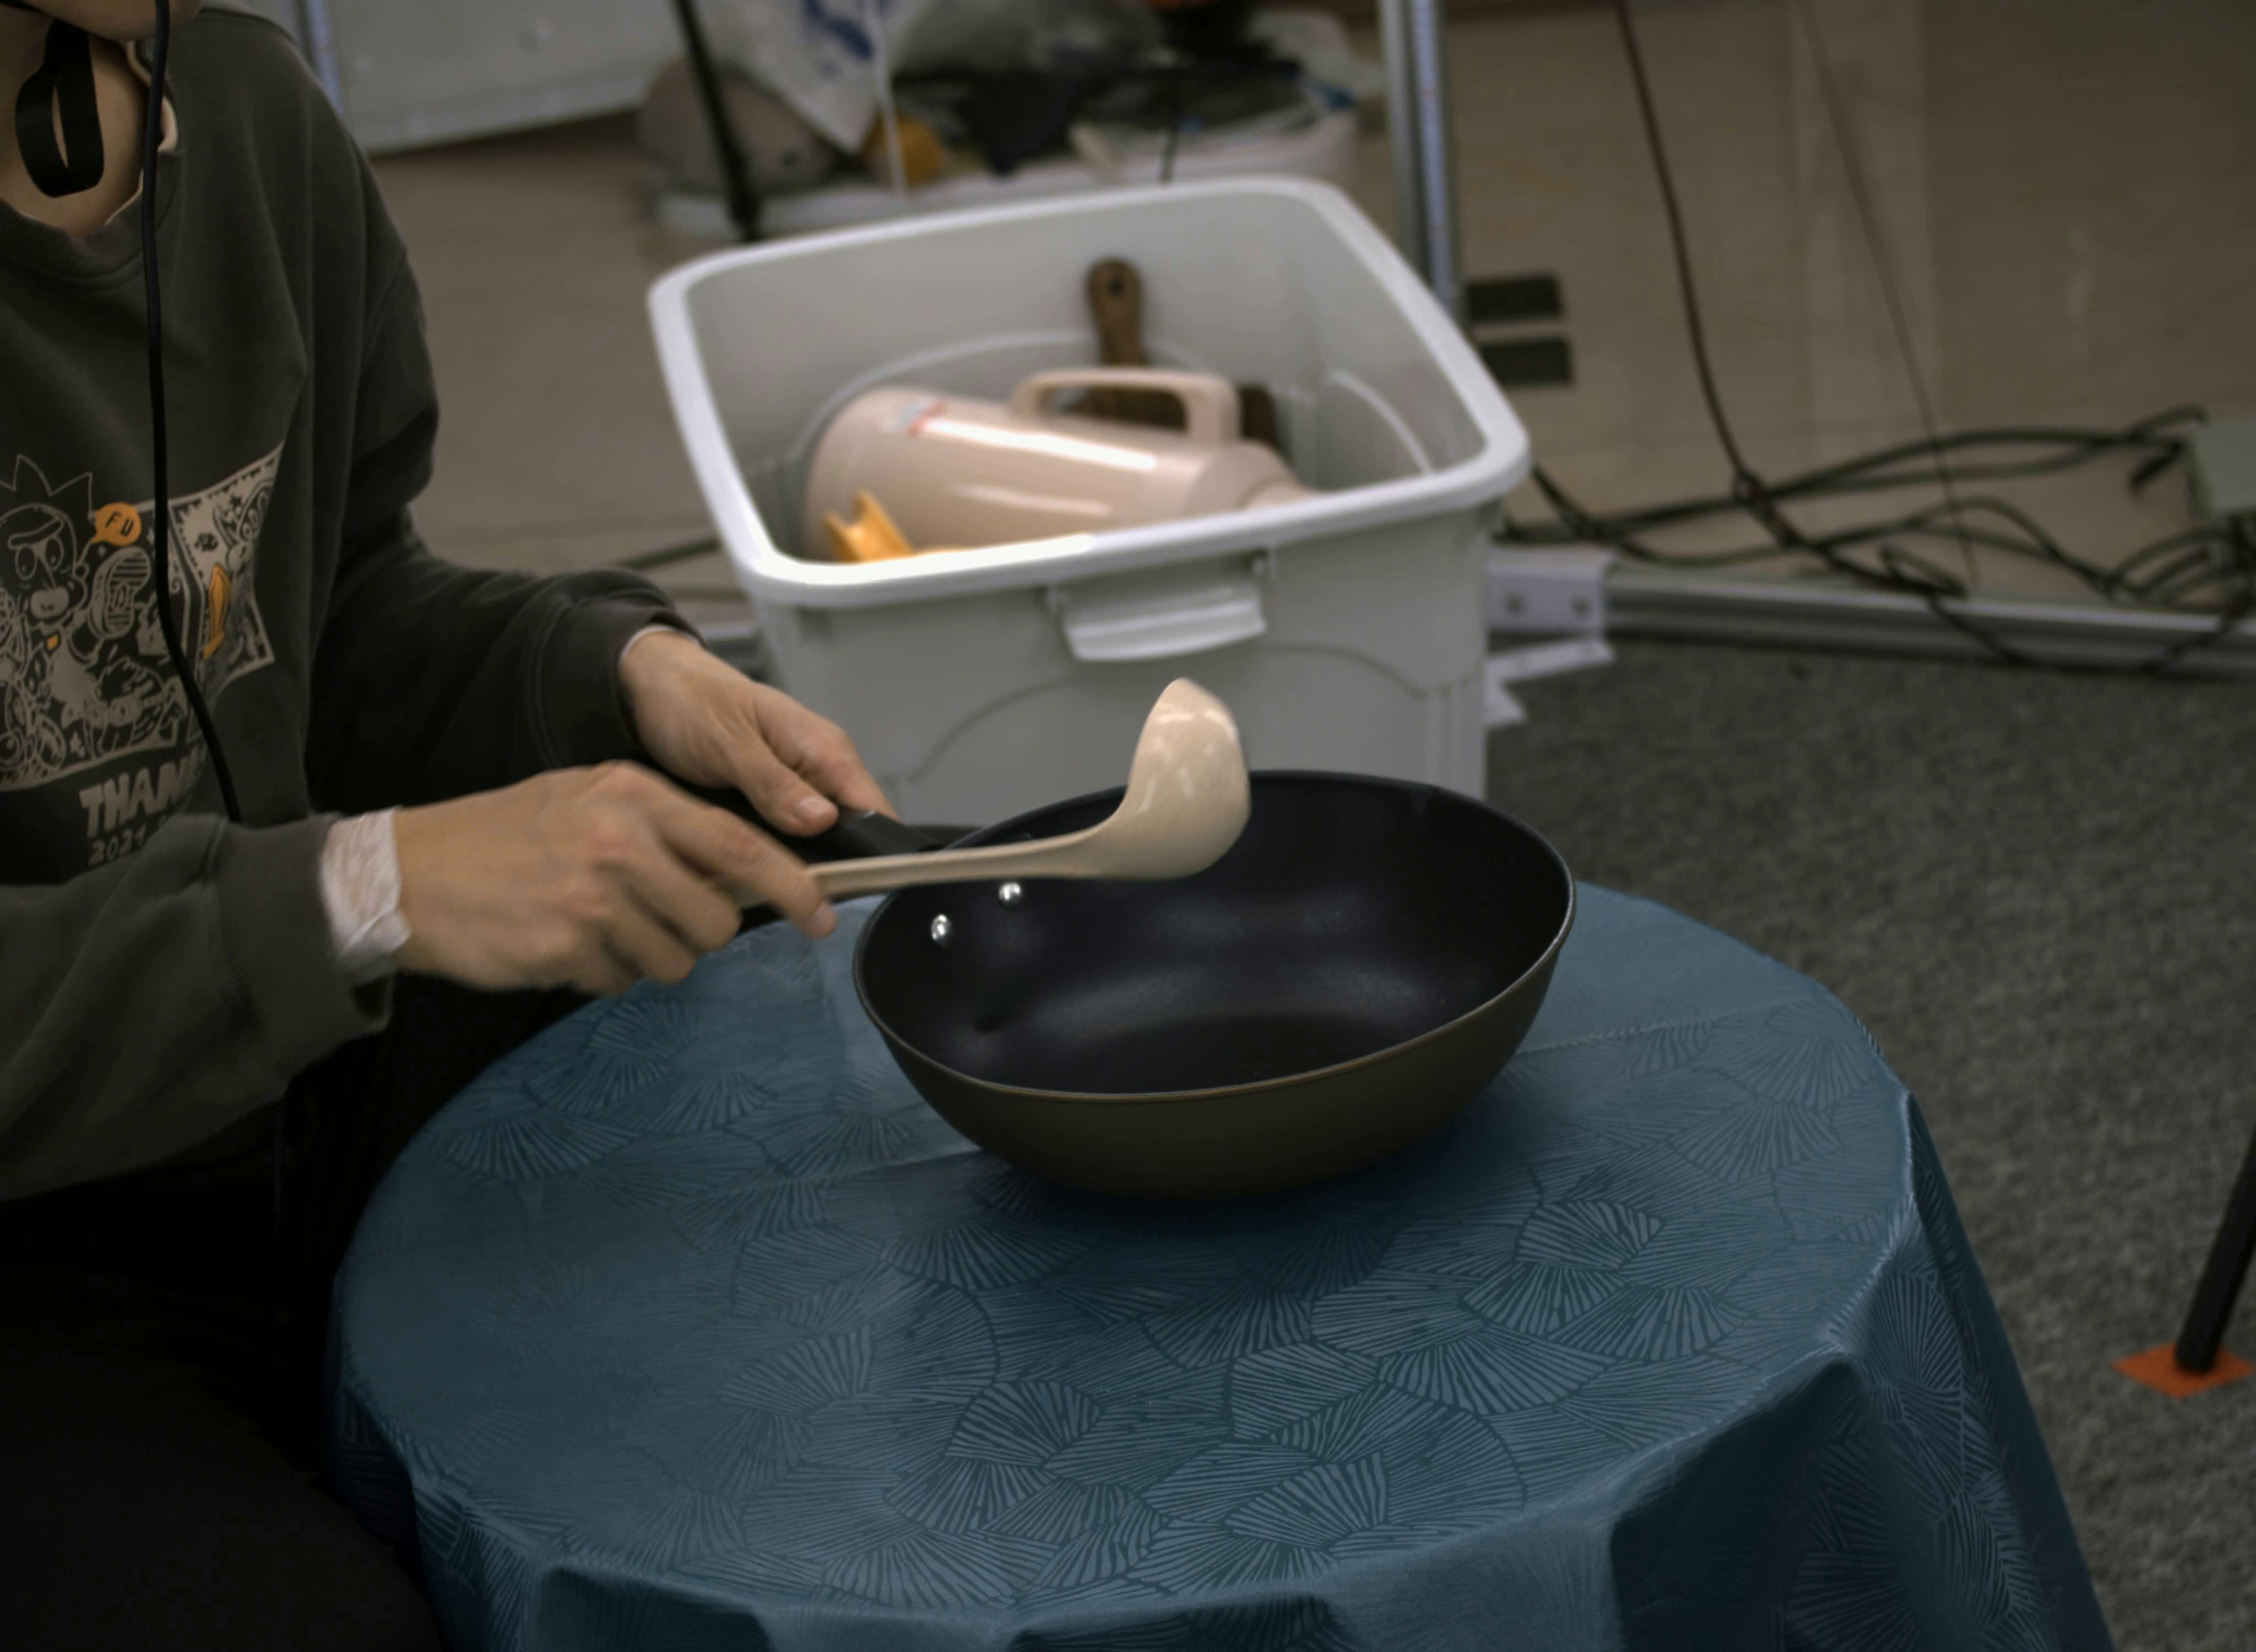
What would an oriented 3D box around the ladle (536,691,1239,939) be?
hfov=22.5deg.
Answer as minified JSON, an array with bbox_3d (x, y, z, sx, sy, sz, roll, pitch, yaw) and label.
[{"bbox_3d":[-0.088,-0.003,2.042,0.254,0.073,0.071,-5,53,1],"label":"ladle"}]

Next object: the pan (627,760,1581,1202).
[{"bbox_3d":[-0.032,0.054,2.238,0.460,0.088,0.285,14,32,39],"label":"pan"}]
